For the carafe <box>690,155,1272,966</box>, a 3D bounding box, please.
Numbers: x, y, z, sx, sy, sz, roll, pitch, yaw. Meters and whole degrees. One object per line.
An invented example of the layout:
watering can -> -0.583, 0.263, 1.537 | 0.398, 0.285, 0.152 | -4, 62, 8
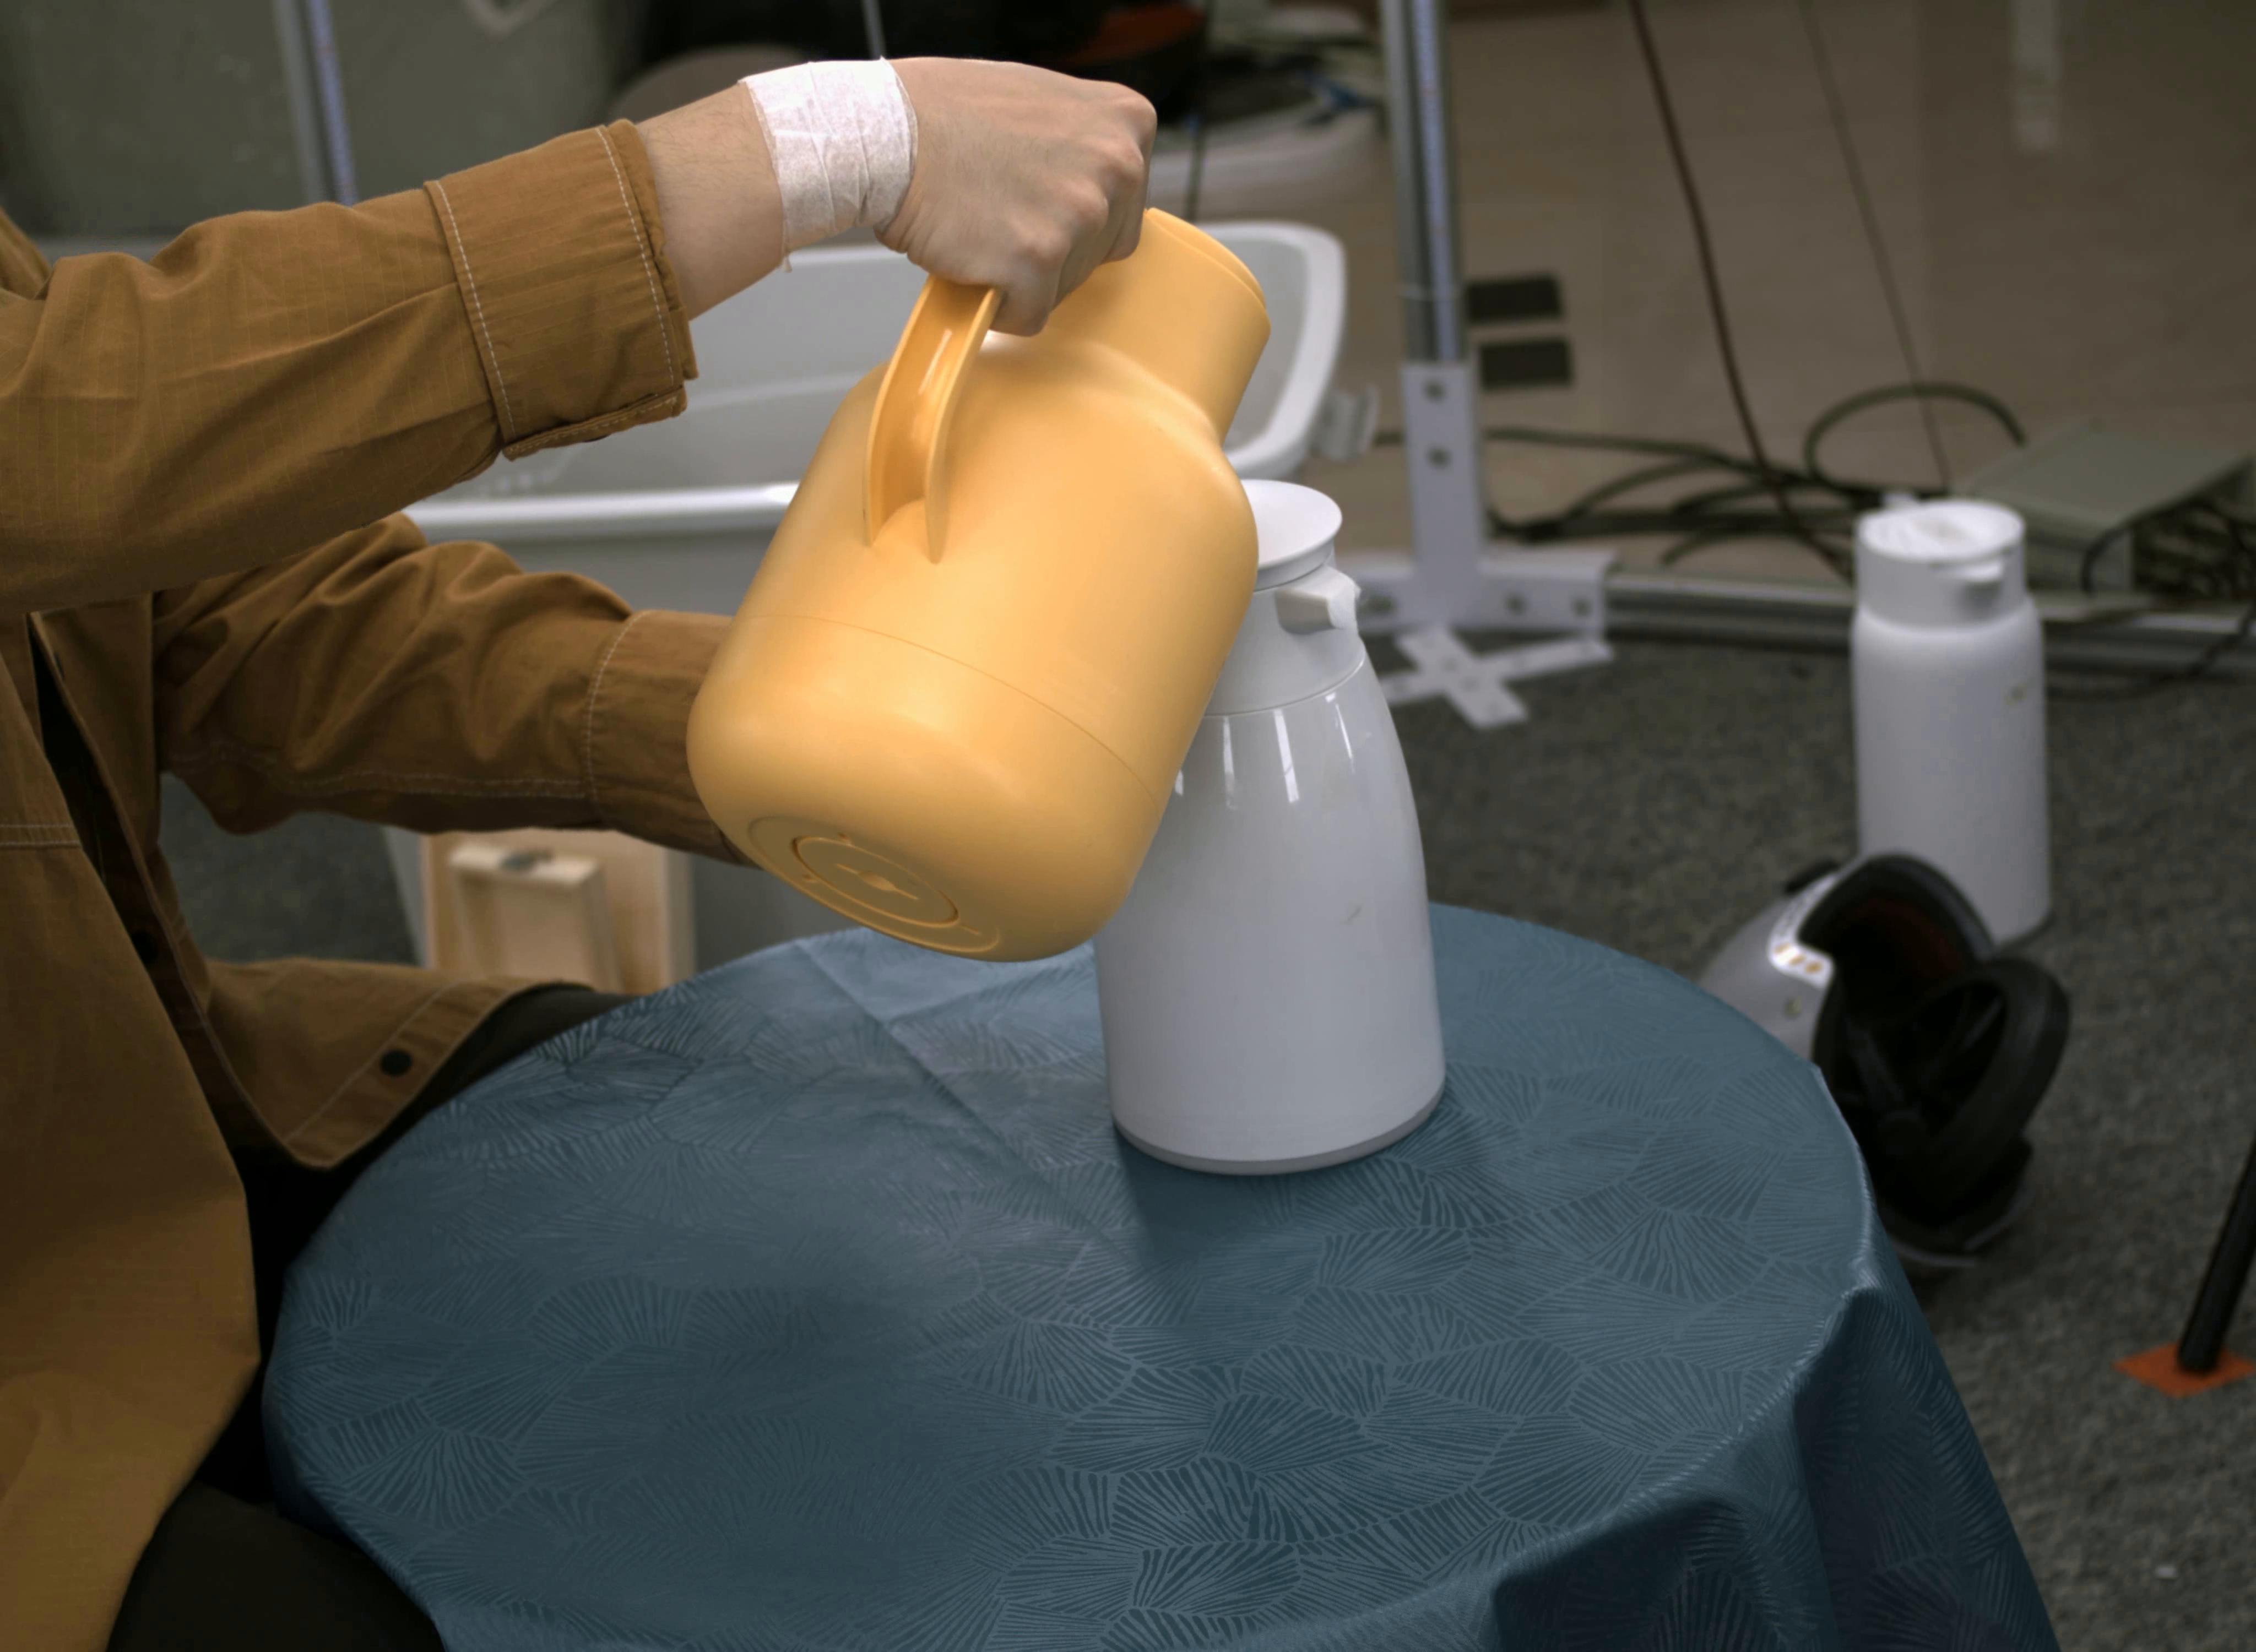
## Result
carafe -> -0.044, -0.100, 1.948 | 0.162, 0.205, 0.258 | 14, 70, 25

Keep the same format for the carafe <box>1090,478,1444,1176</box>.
carafe -> 0.031, -0.010, 2.164 | 0.166, 0.252, 0.131 | 16, 34, 40
